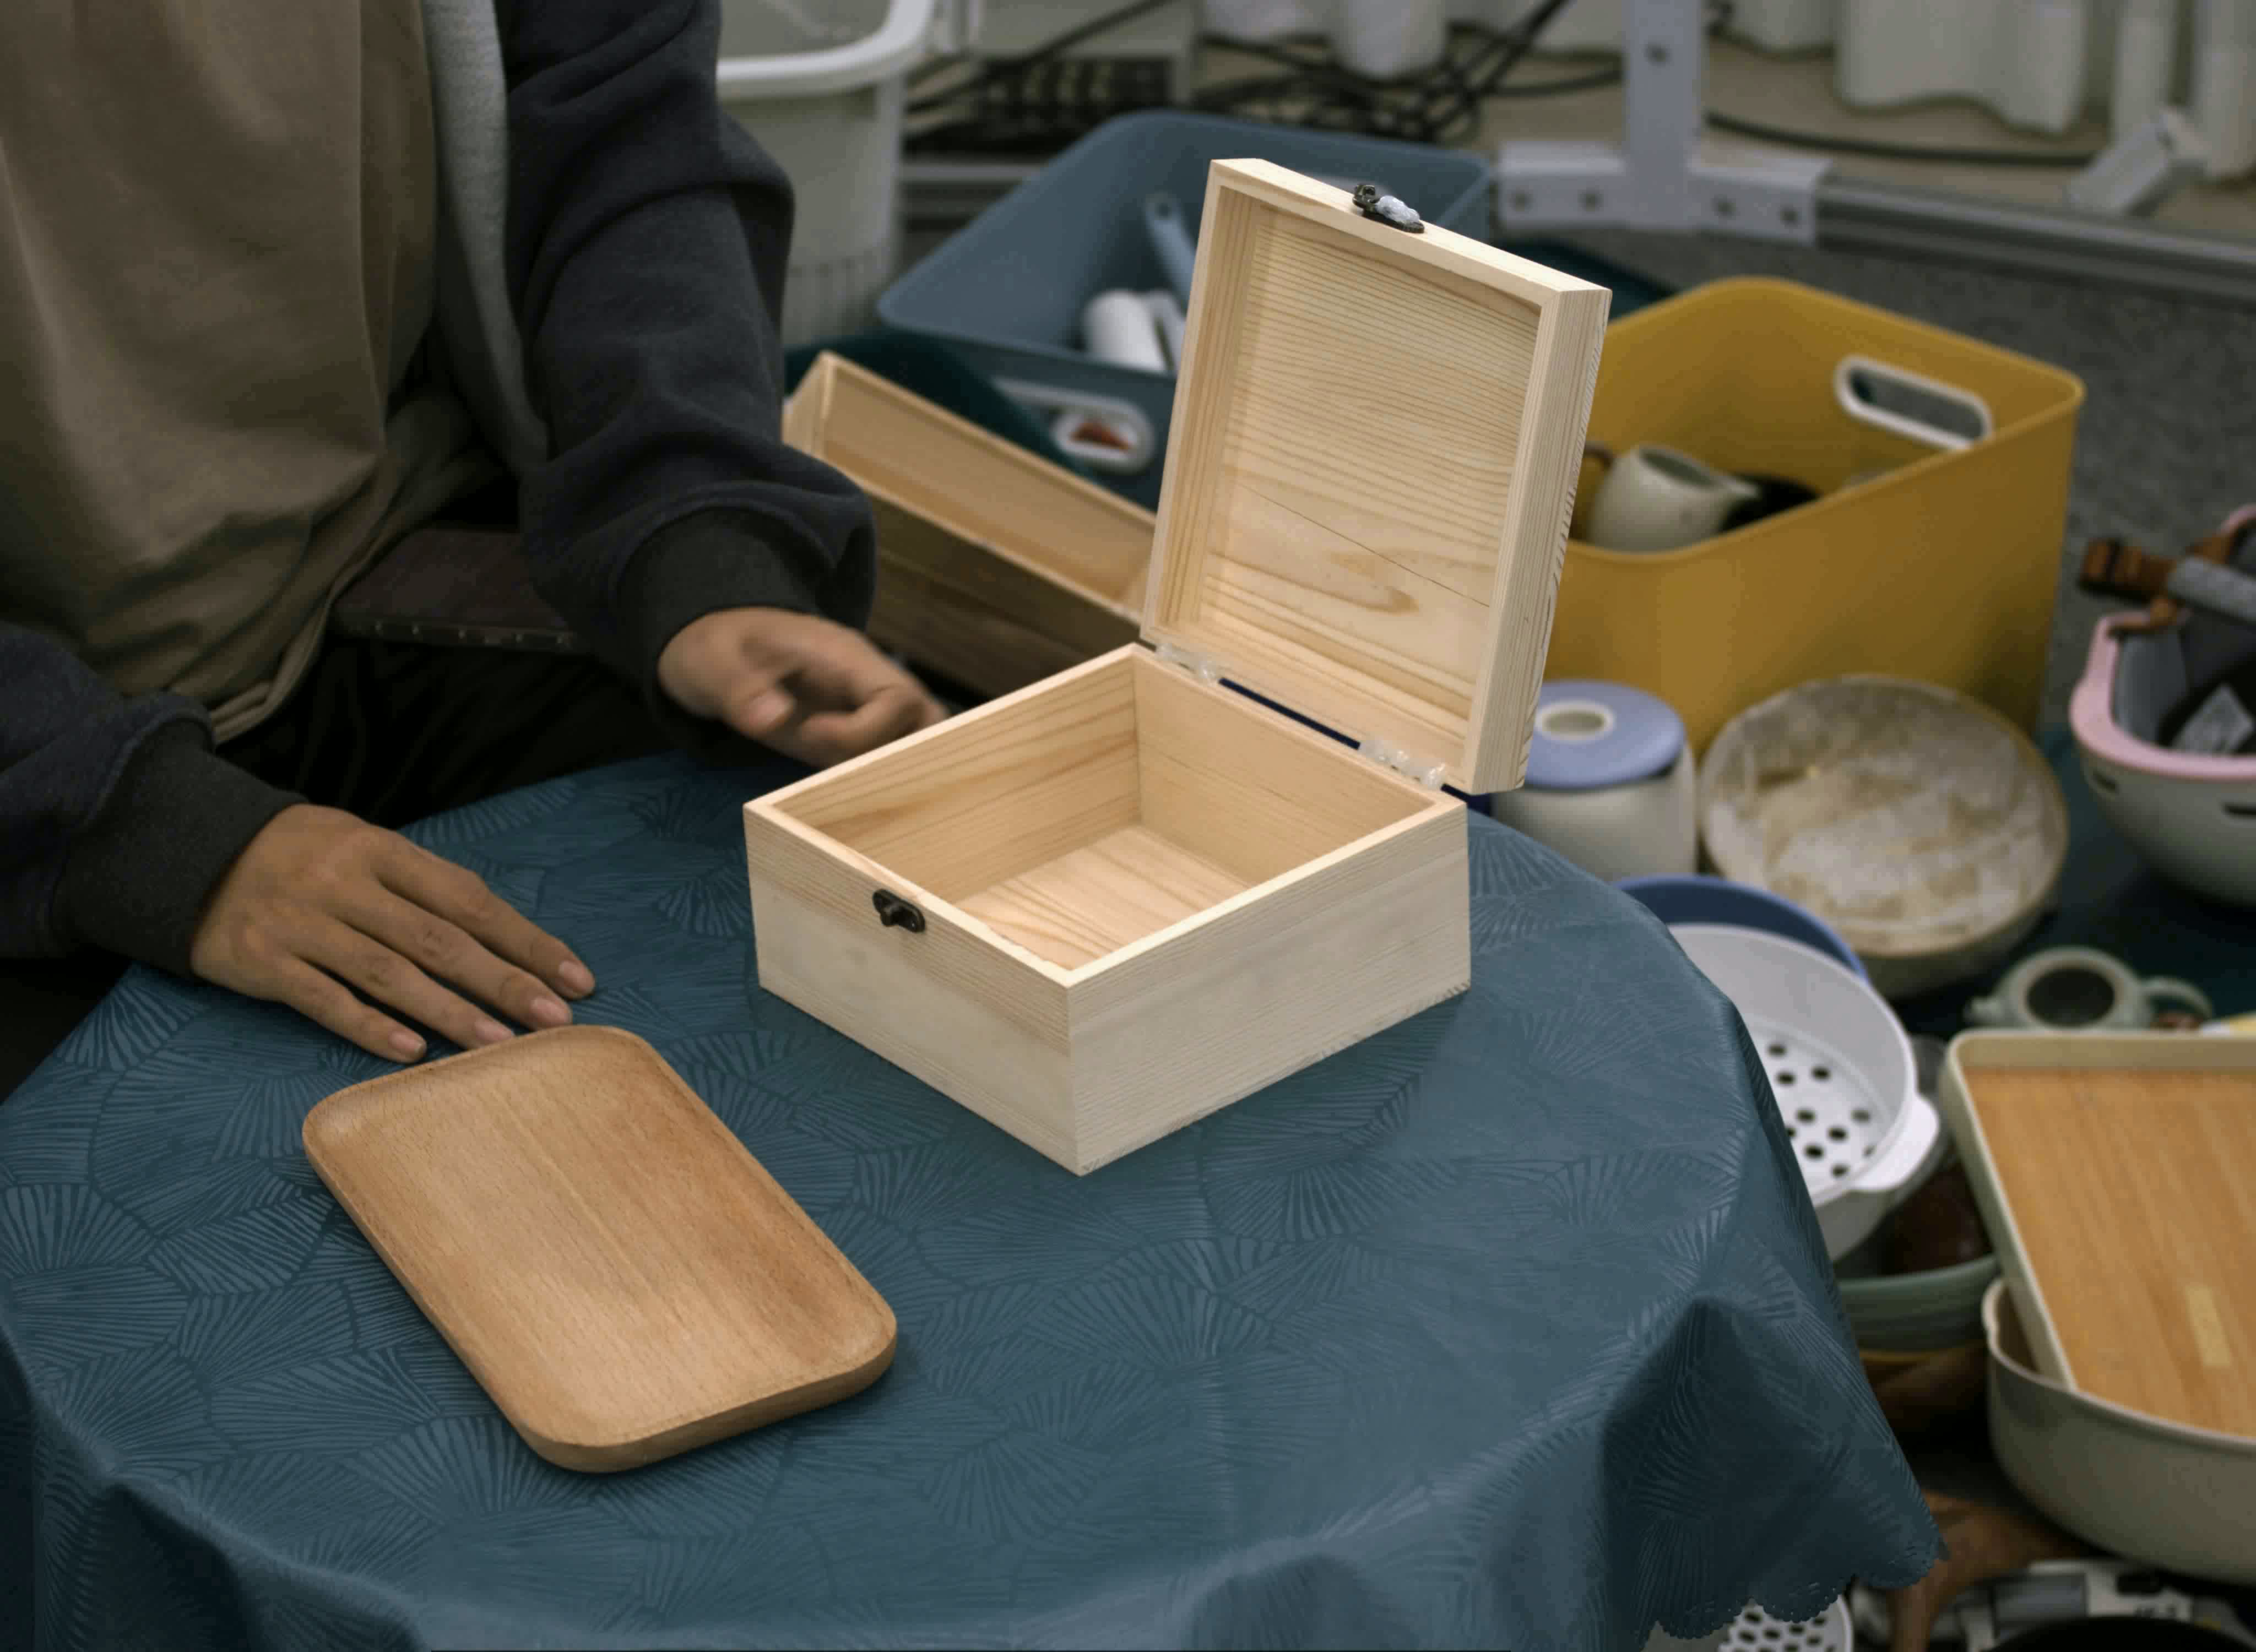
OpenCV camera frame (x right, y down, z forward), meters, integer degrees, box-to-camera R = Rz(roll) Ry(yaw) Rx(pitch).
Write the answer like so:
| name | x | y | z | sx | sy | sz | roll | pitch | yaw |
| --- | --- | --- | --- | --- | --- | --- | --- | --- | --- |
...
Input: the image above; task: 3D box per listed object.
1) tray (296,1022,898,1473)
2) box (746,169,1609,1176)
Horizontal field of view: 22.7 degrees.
| name | x | y | z | sx | sy | sz | roll | pitch | yaw |
| --- | --- | --- | --- | --- | --- | --- | --- | --- | --- |
| tray | -0.177 | 0.135 | 1.835 | 0.131 | 0.022 | 0.252 | -13 | 29 | -24 |
| box | 0.015 | -0.062 | 1.953 | 0.268 | 0.251 | 0.181 | -23 | 30 | -35 |
